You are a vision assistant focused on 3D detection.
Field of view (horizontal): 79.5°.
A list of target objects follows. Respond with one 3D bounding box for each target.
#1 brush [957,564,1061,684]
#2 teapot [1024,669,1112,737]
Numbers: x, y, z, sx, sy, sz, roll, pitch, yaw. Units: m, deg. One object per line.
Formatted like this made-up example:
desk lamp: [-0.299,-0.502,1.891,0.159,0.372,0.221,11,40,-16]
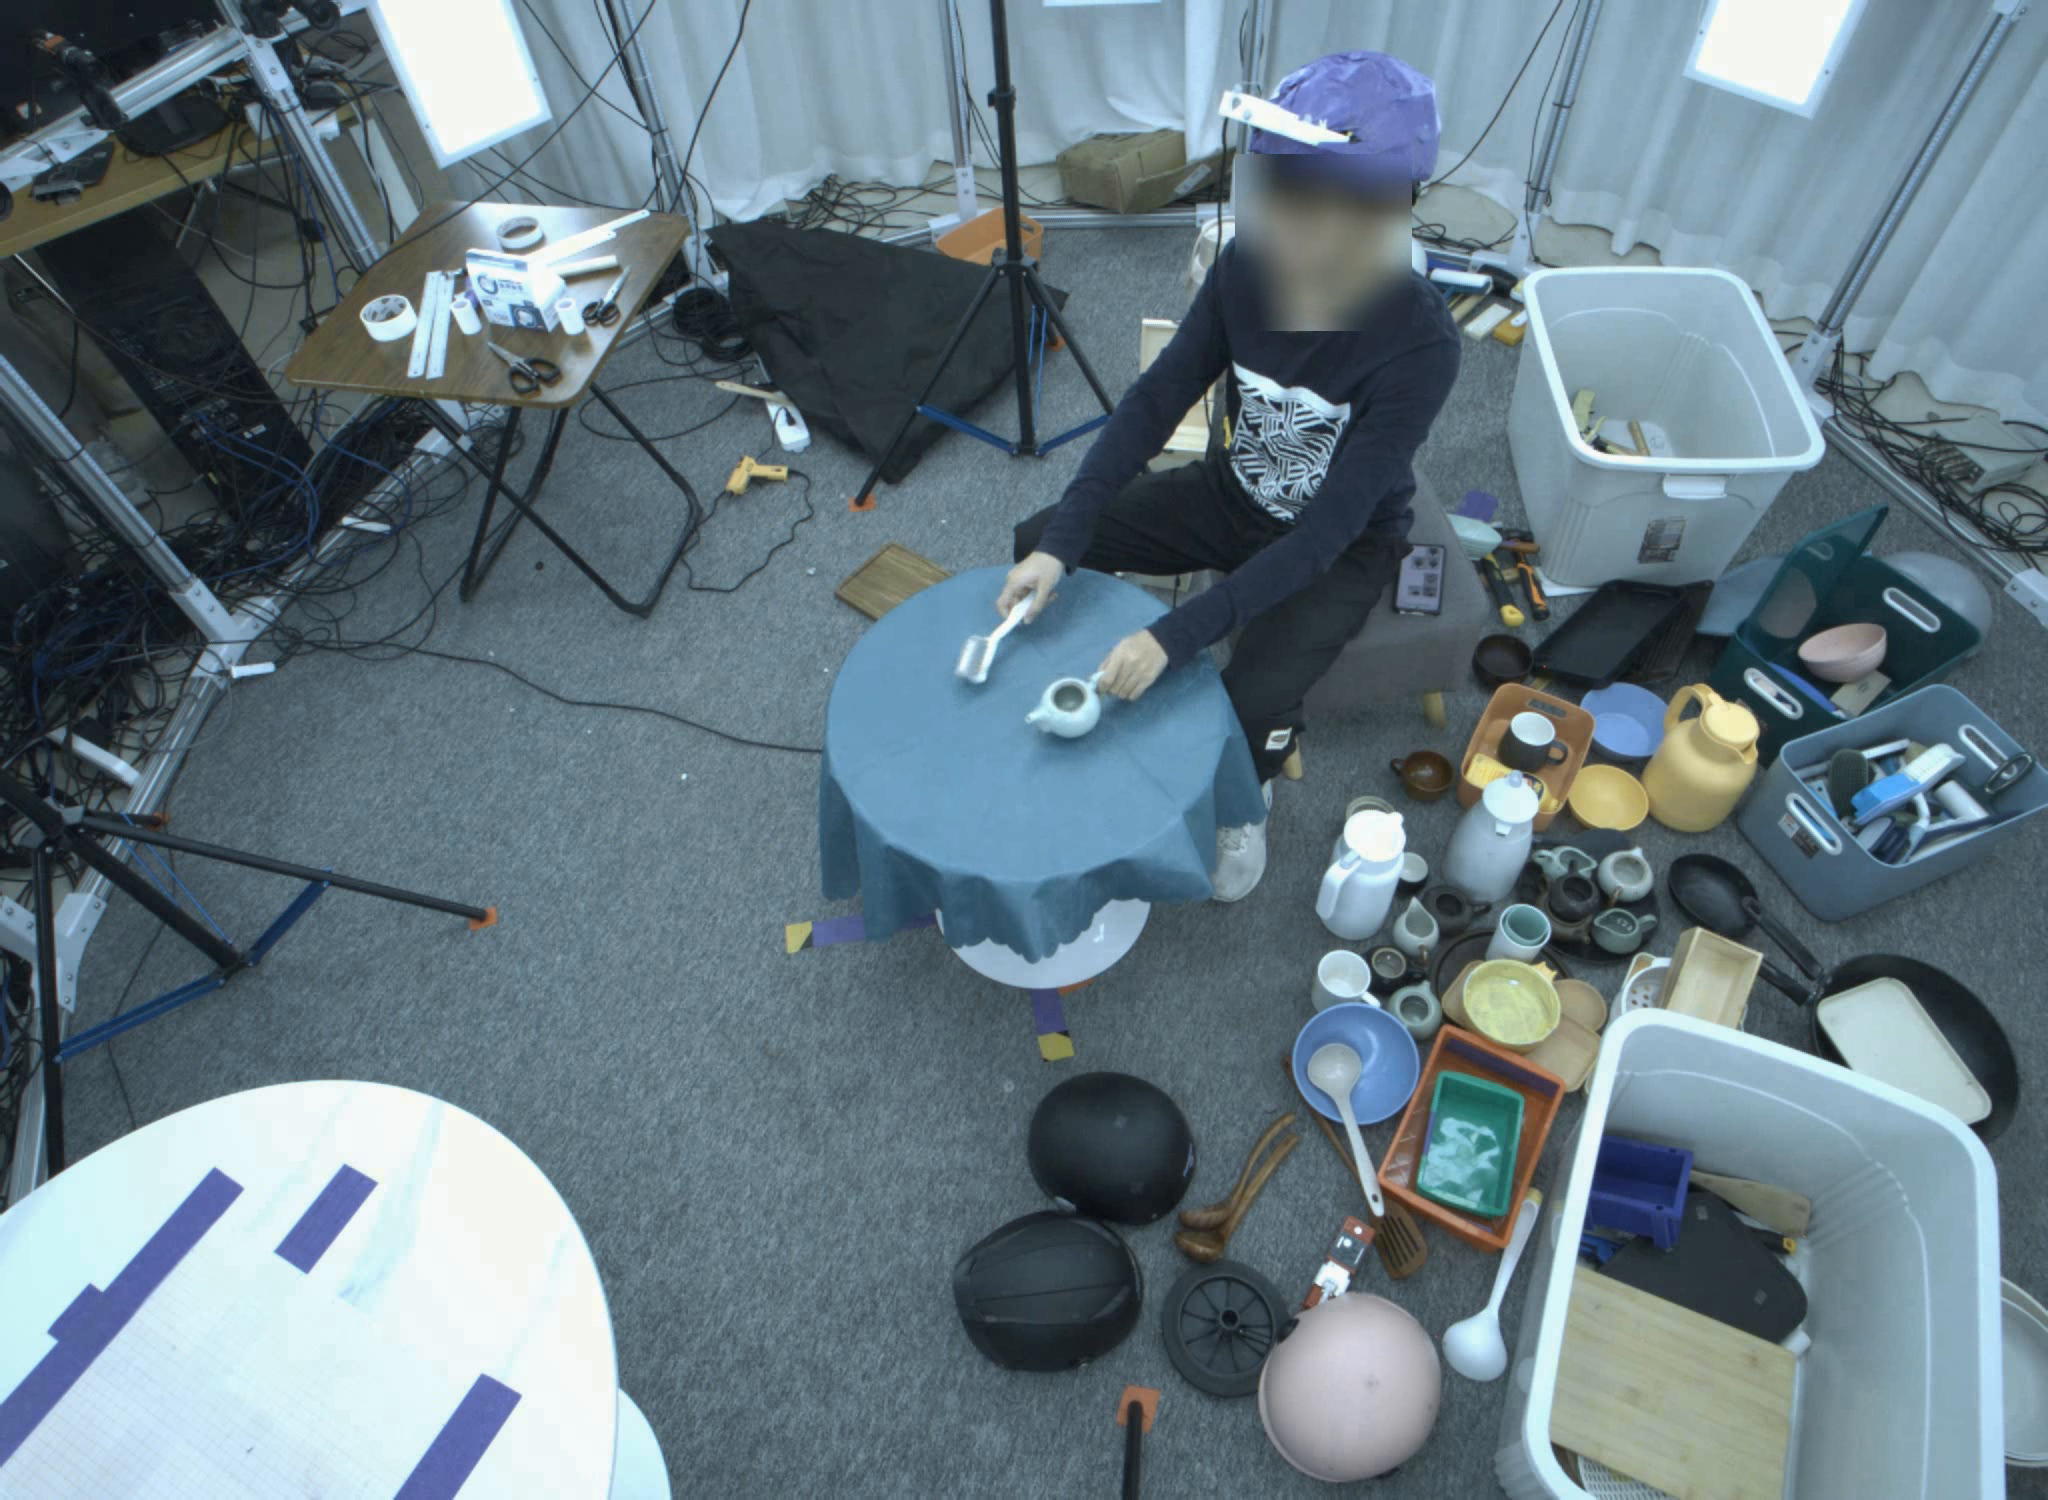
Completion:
brush: [-0.025,-0.202,1.865,0.033,0.051,0.244,9,60,55]
teapot: [0.067,-0.062,1.775,0.144,0.076,0.087,-30,61,-9]
